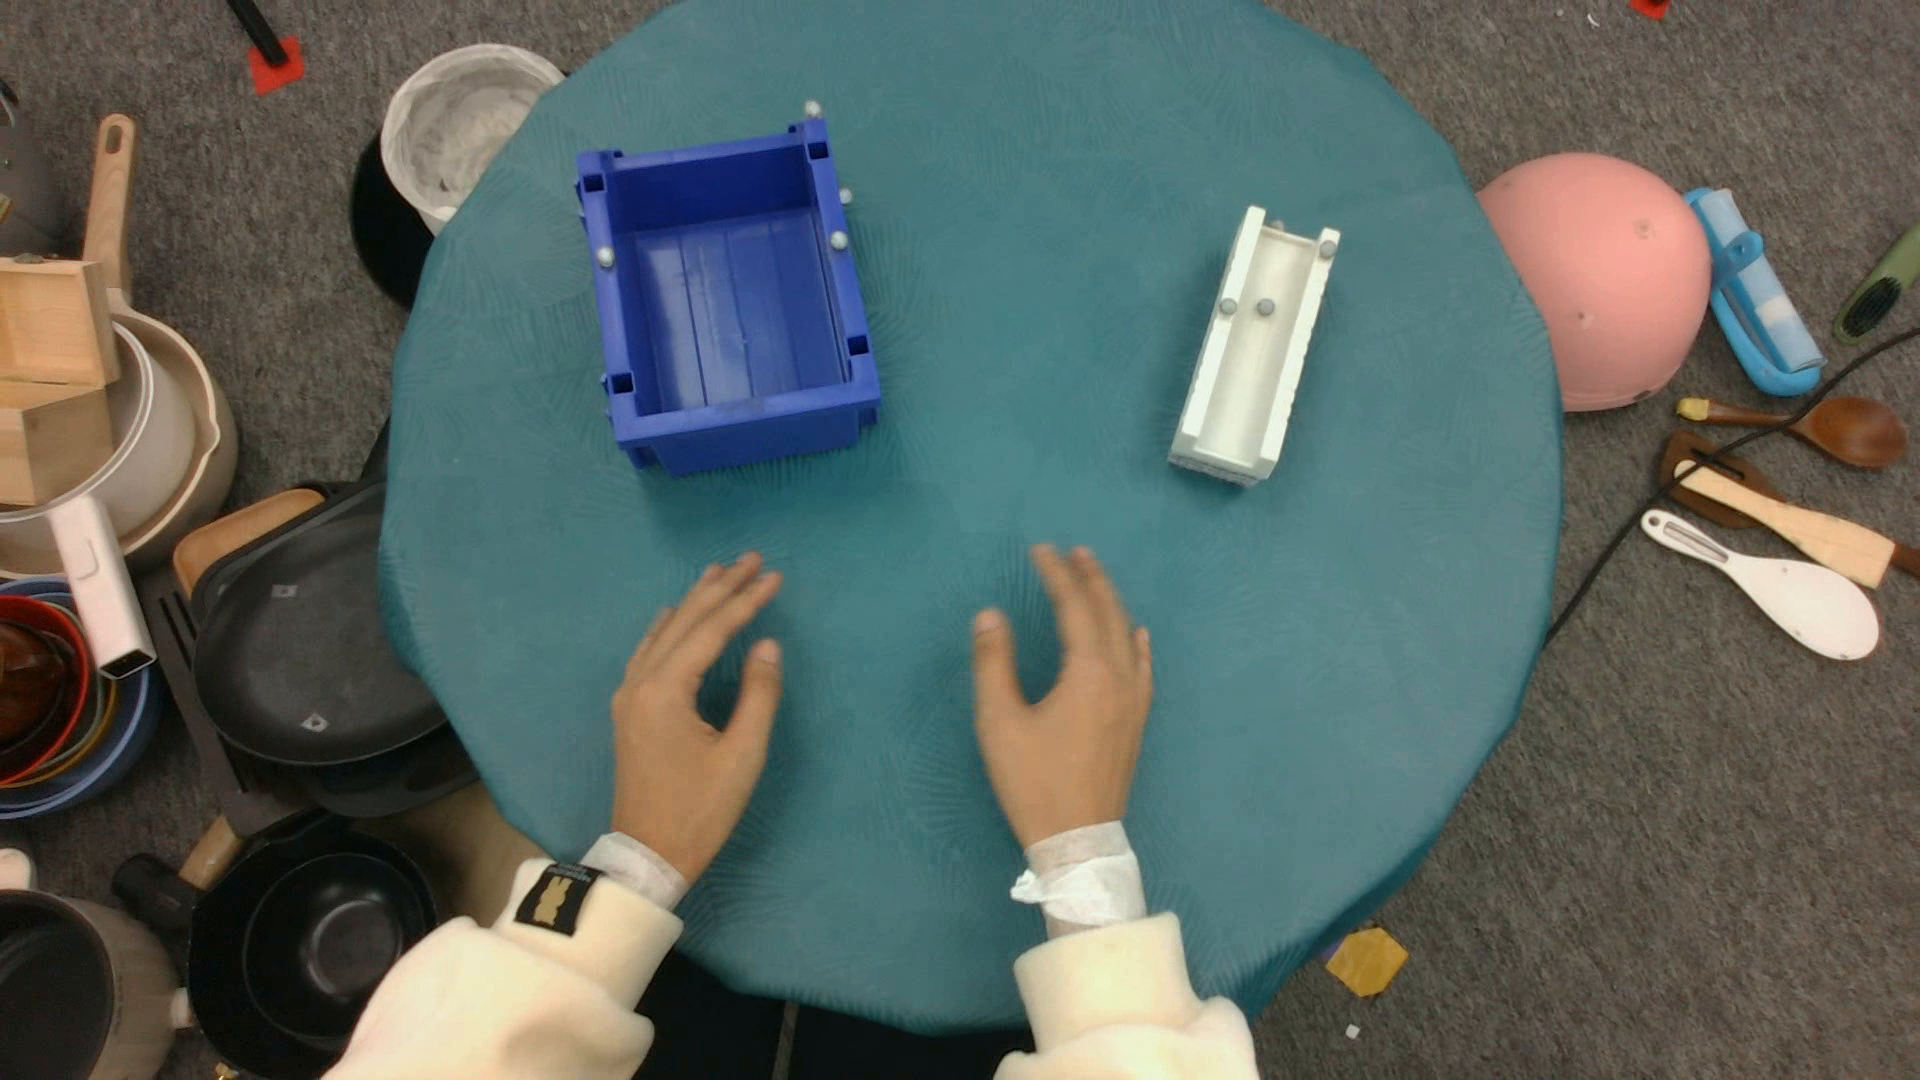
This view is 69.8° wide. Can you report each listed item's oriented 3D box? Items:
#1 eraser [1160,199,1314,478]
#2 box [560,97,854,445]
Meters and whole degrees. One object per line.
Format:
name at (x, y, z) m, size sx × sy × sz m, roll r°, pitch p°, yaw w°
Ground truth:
eraser at (0.140, -0.102, 0.702) m, size 0.050 × 0.046 × 0.135 m, roll 16°, pitch 69°, yaw 0°
box at (-0.127, -0.139, 0.682) m, size 0.124 × 0.081 × 0.180 m, roll -9°, pitch 74°, yaw -6°
